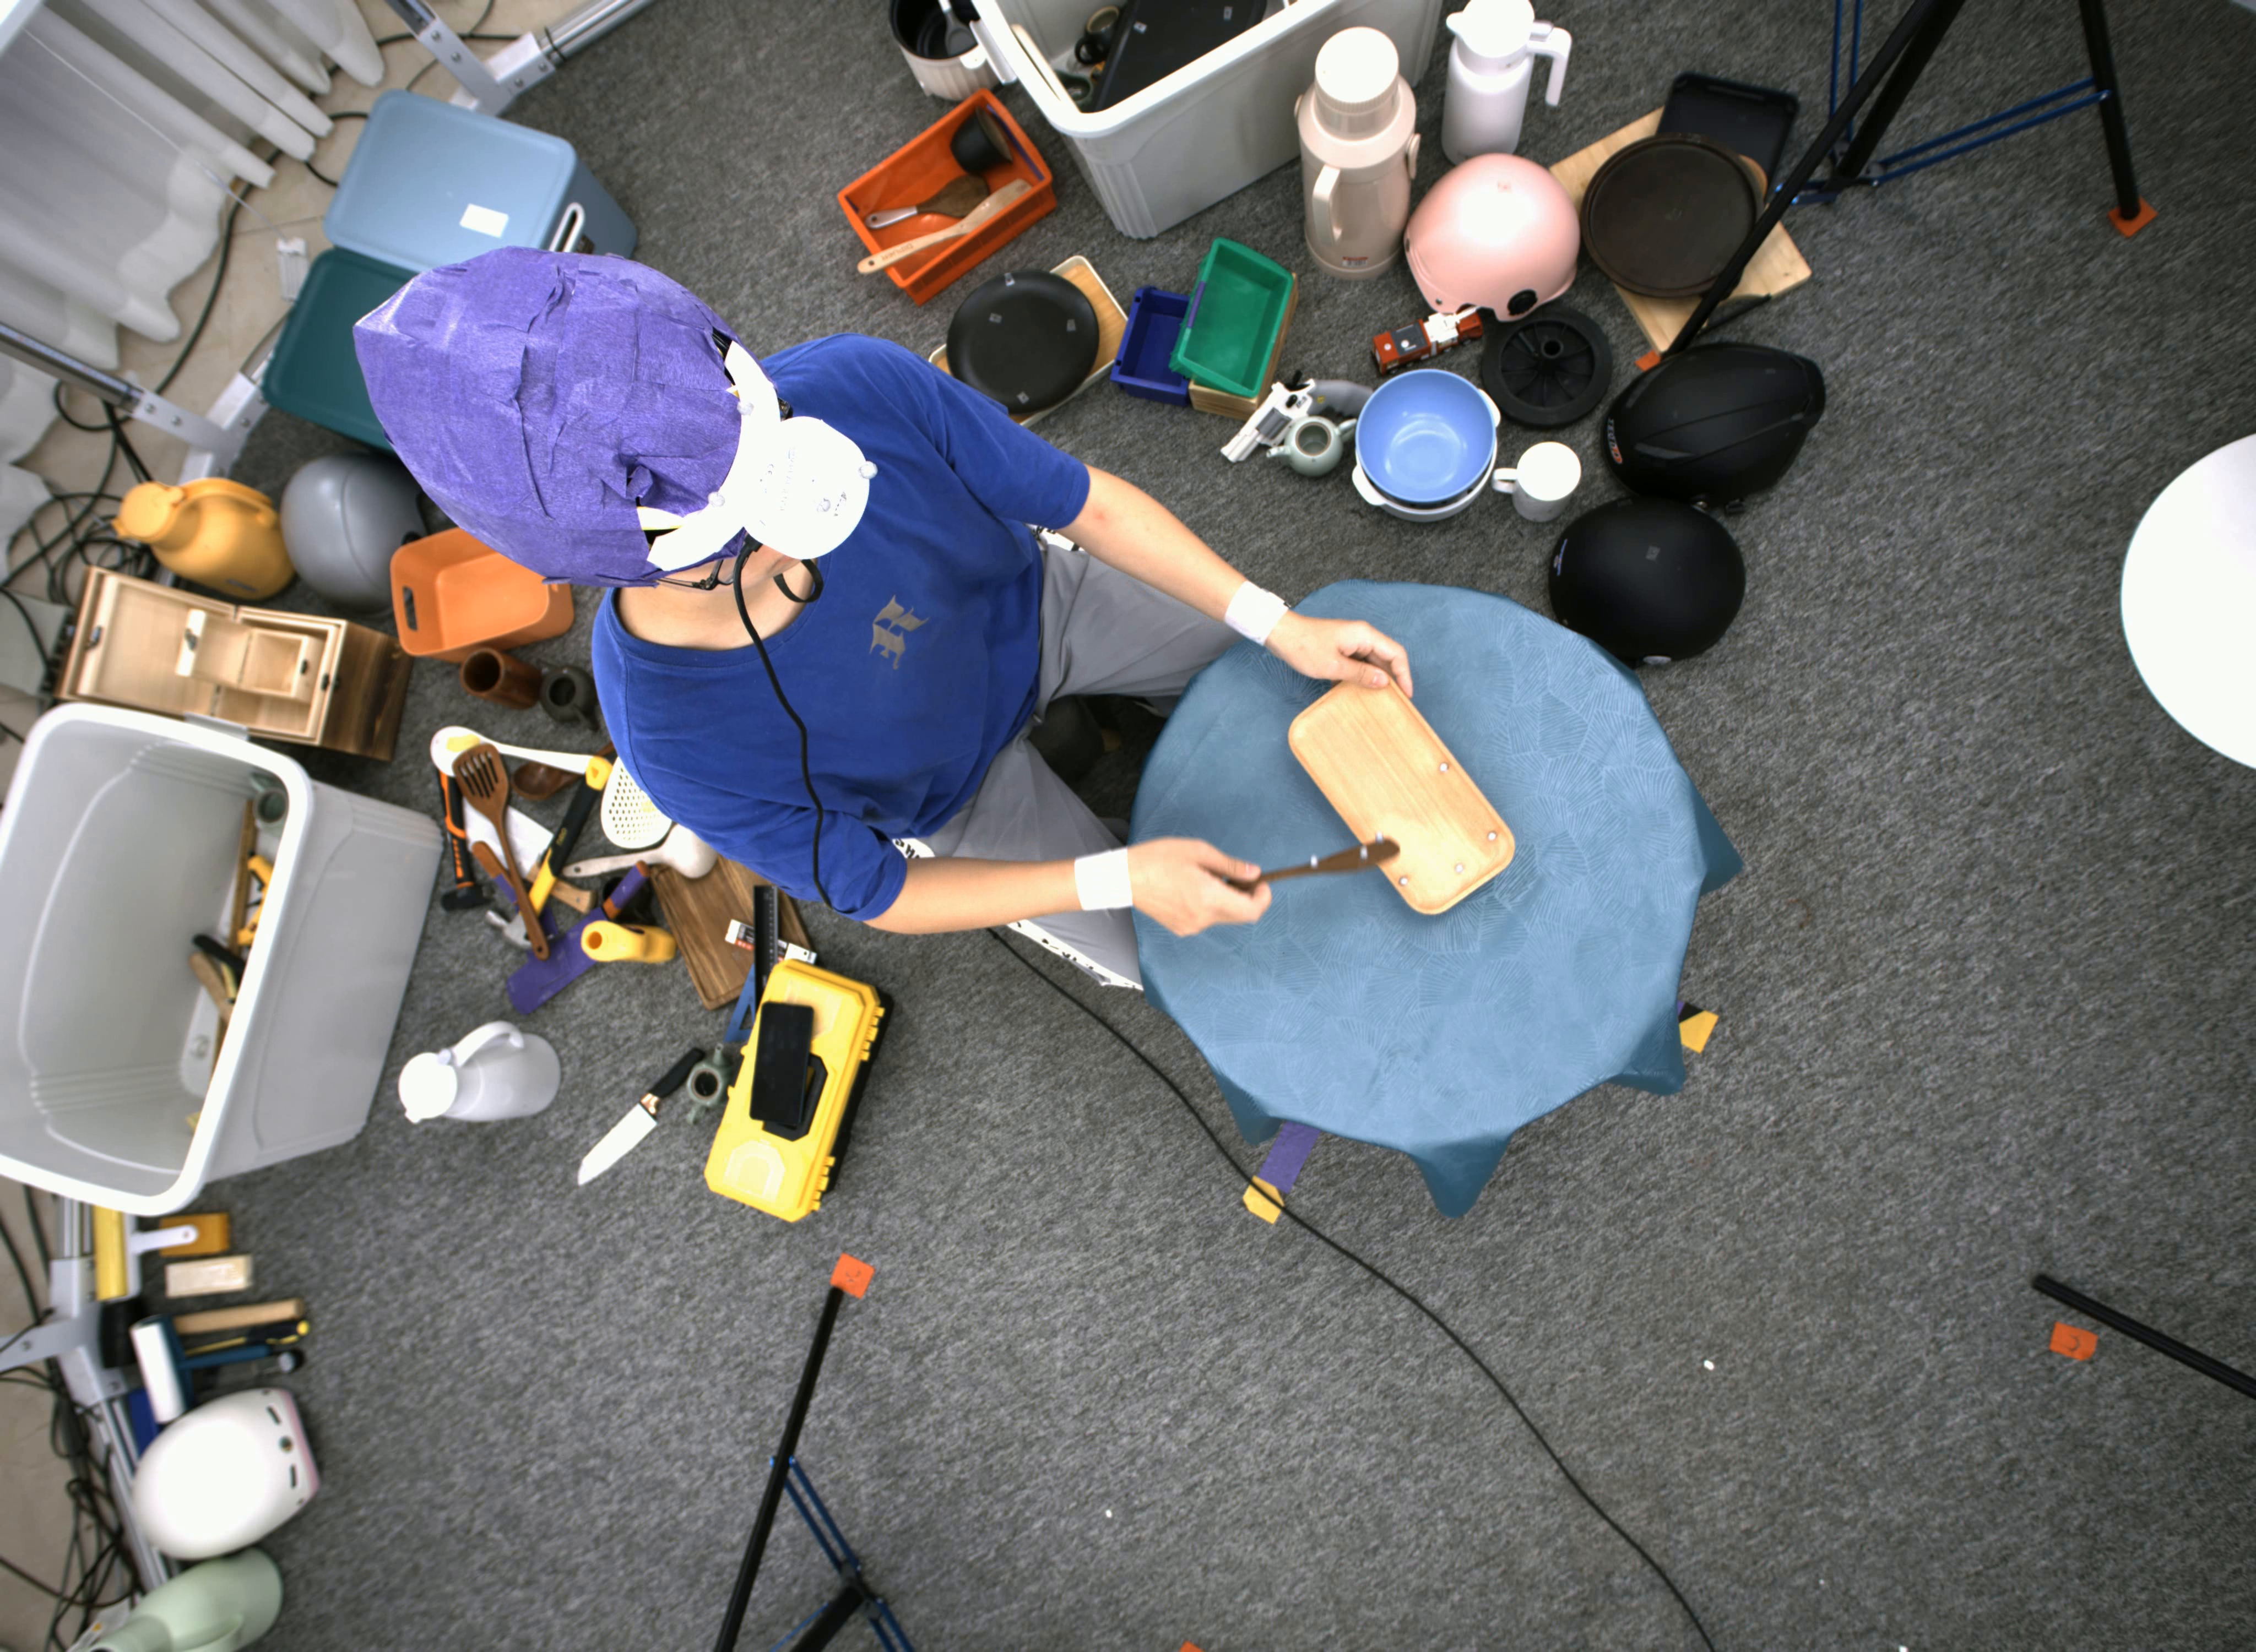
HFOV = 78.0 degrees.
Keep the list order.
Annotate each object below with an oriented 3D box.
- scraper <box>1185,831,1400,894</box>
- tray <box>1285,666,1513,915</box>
[{"bbox_3d":[0.158,0.037,1.339,0.212,0.075,0.011,-14,98,5],"label":"scraper"},{"bbox_3d":[0.274,-0.037,1.400,0.132,0.022,0.250,-37,86,18],"label":"tray"}]
